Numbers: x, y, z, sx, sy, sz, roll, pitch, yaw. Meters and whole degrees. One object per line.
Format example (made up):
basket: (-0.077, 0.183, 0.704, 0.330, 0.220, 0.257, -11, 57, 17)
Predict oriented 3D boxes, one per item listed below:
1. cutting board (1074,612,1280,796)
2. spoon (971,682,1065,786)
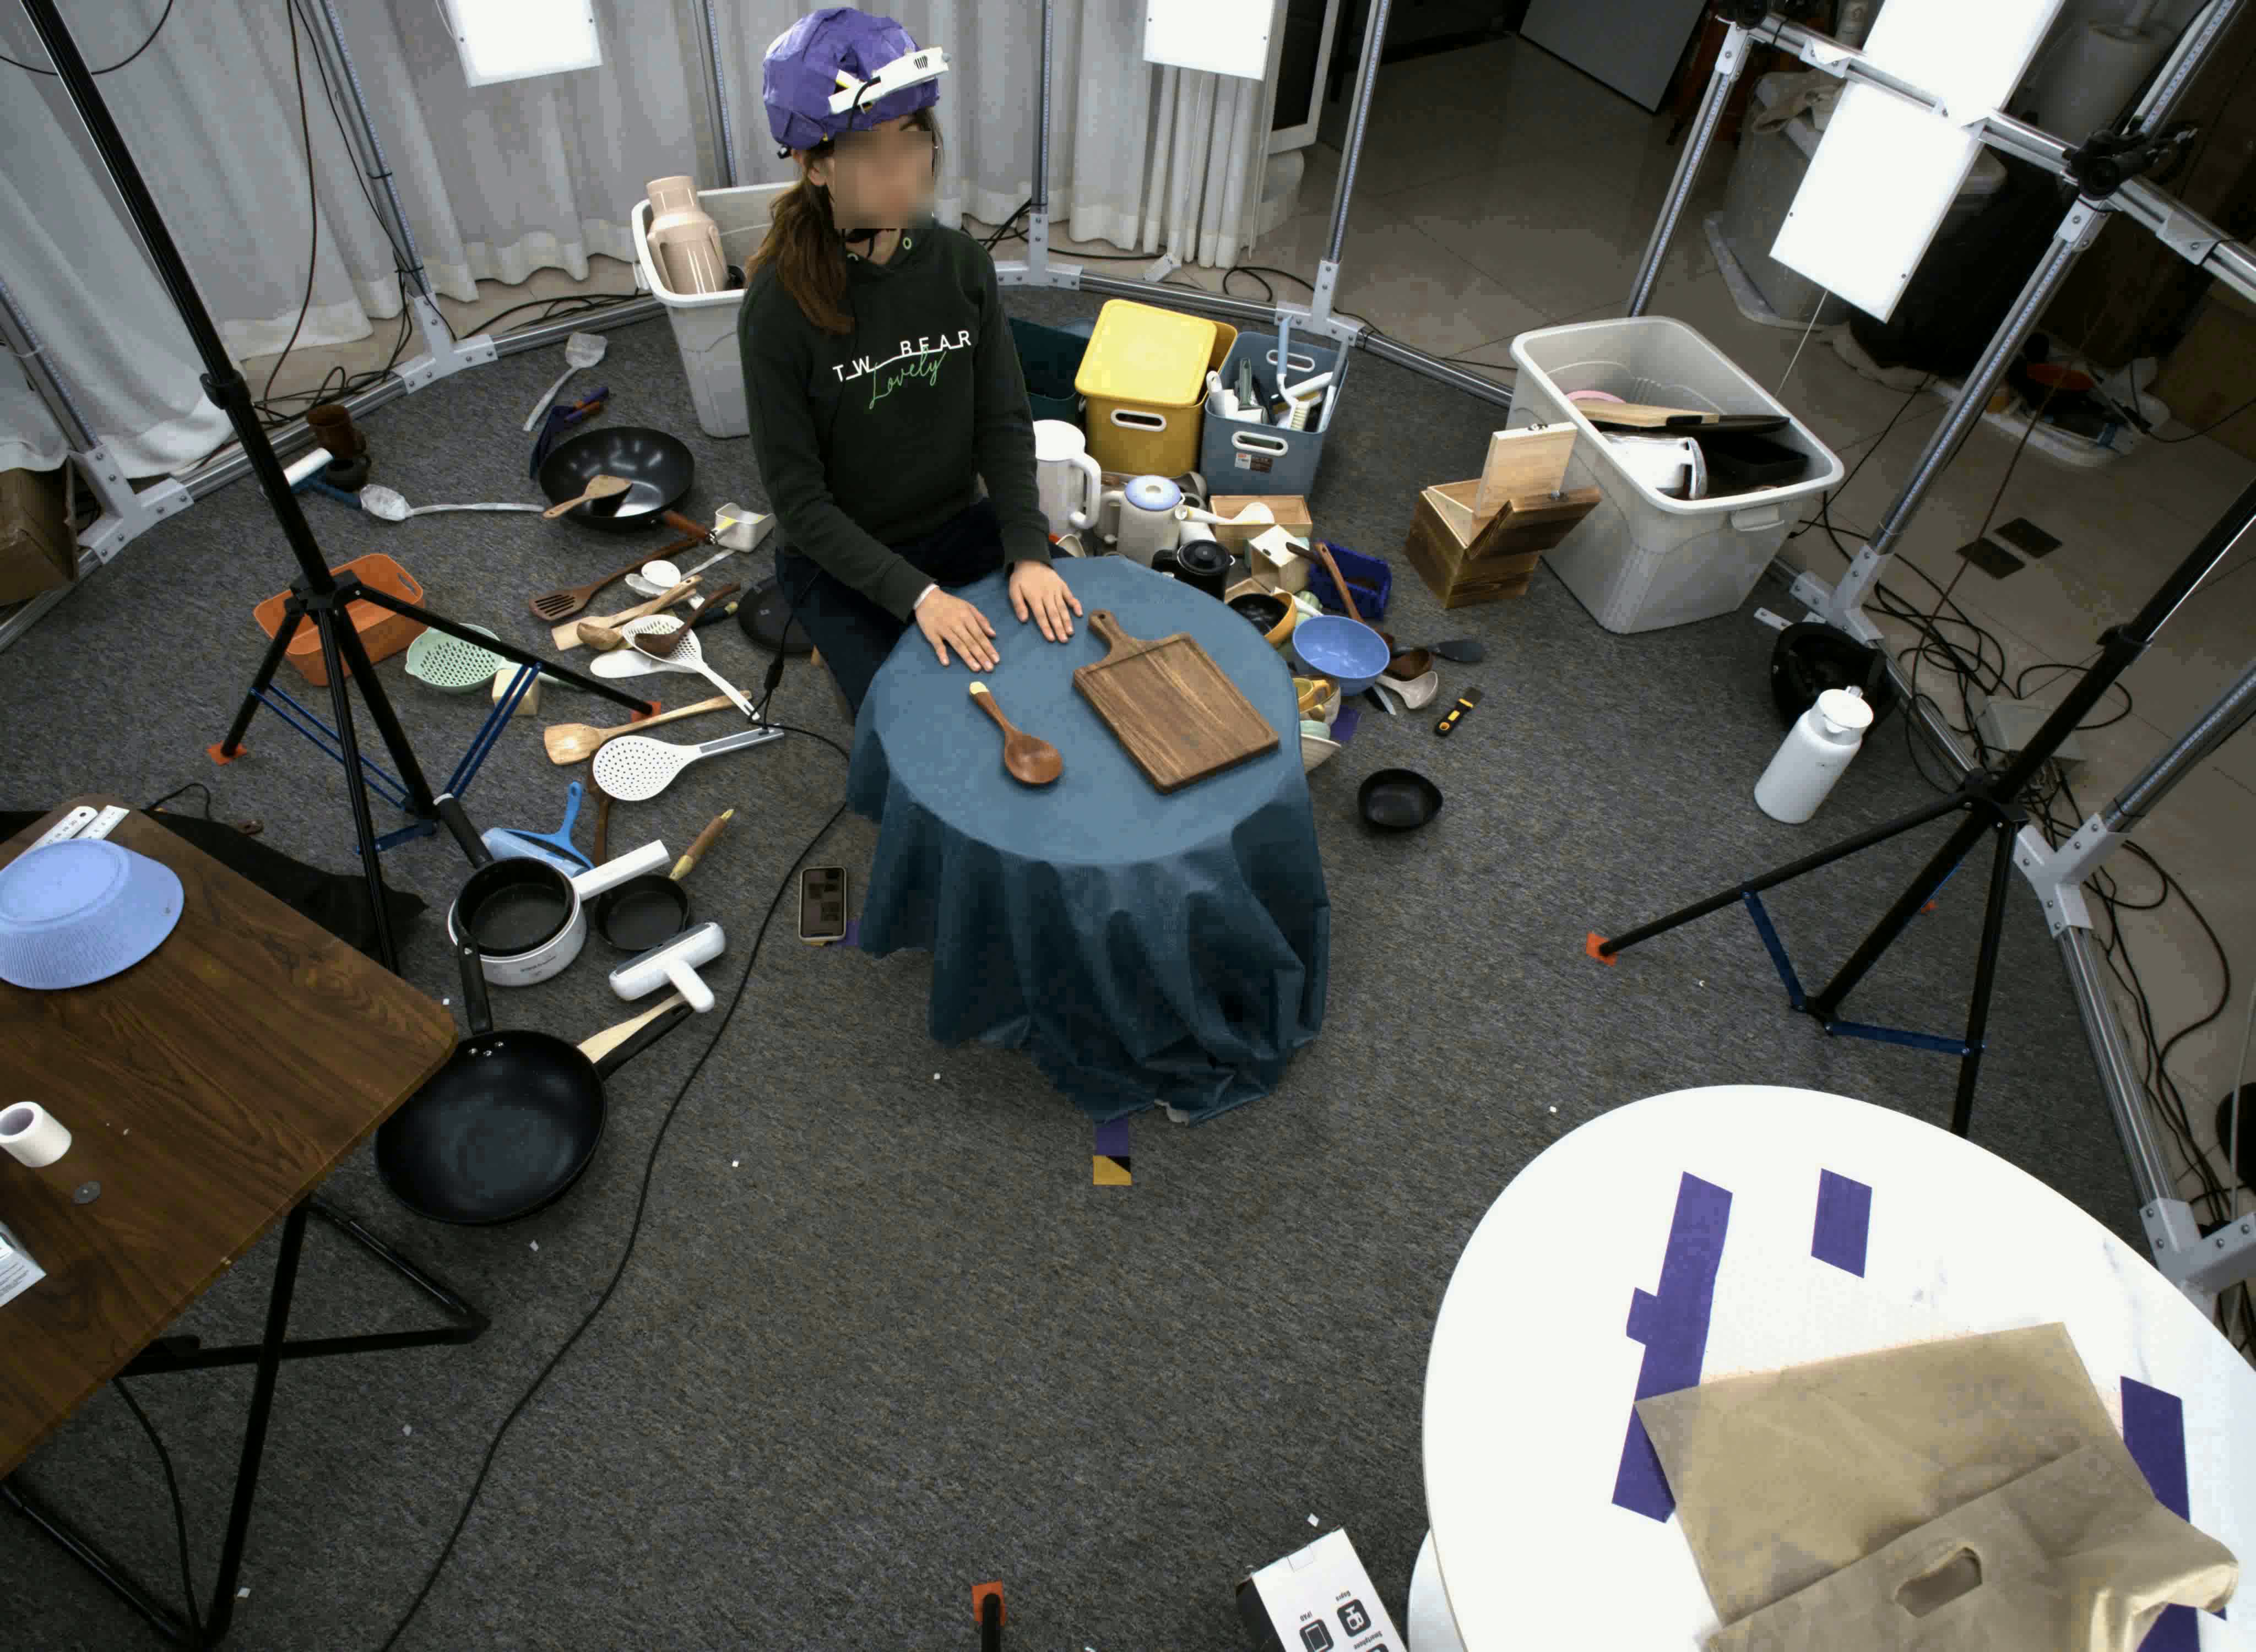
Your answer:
cutting board: (0.042, -0.197, 1.847, 0.201, 0.022, 0.359, -23, 54, -21)
spoon: (-0.159, -0.128, 1.773, 0.076, 0.017, 0.220, -24, 55, -20)
